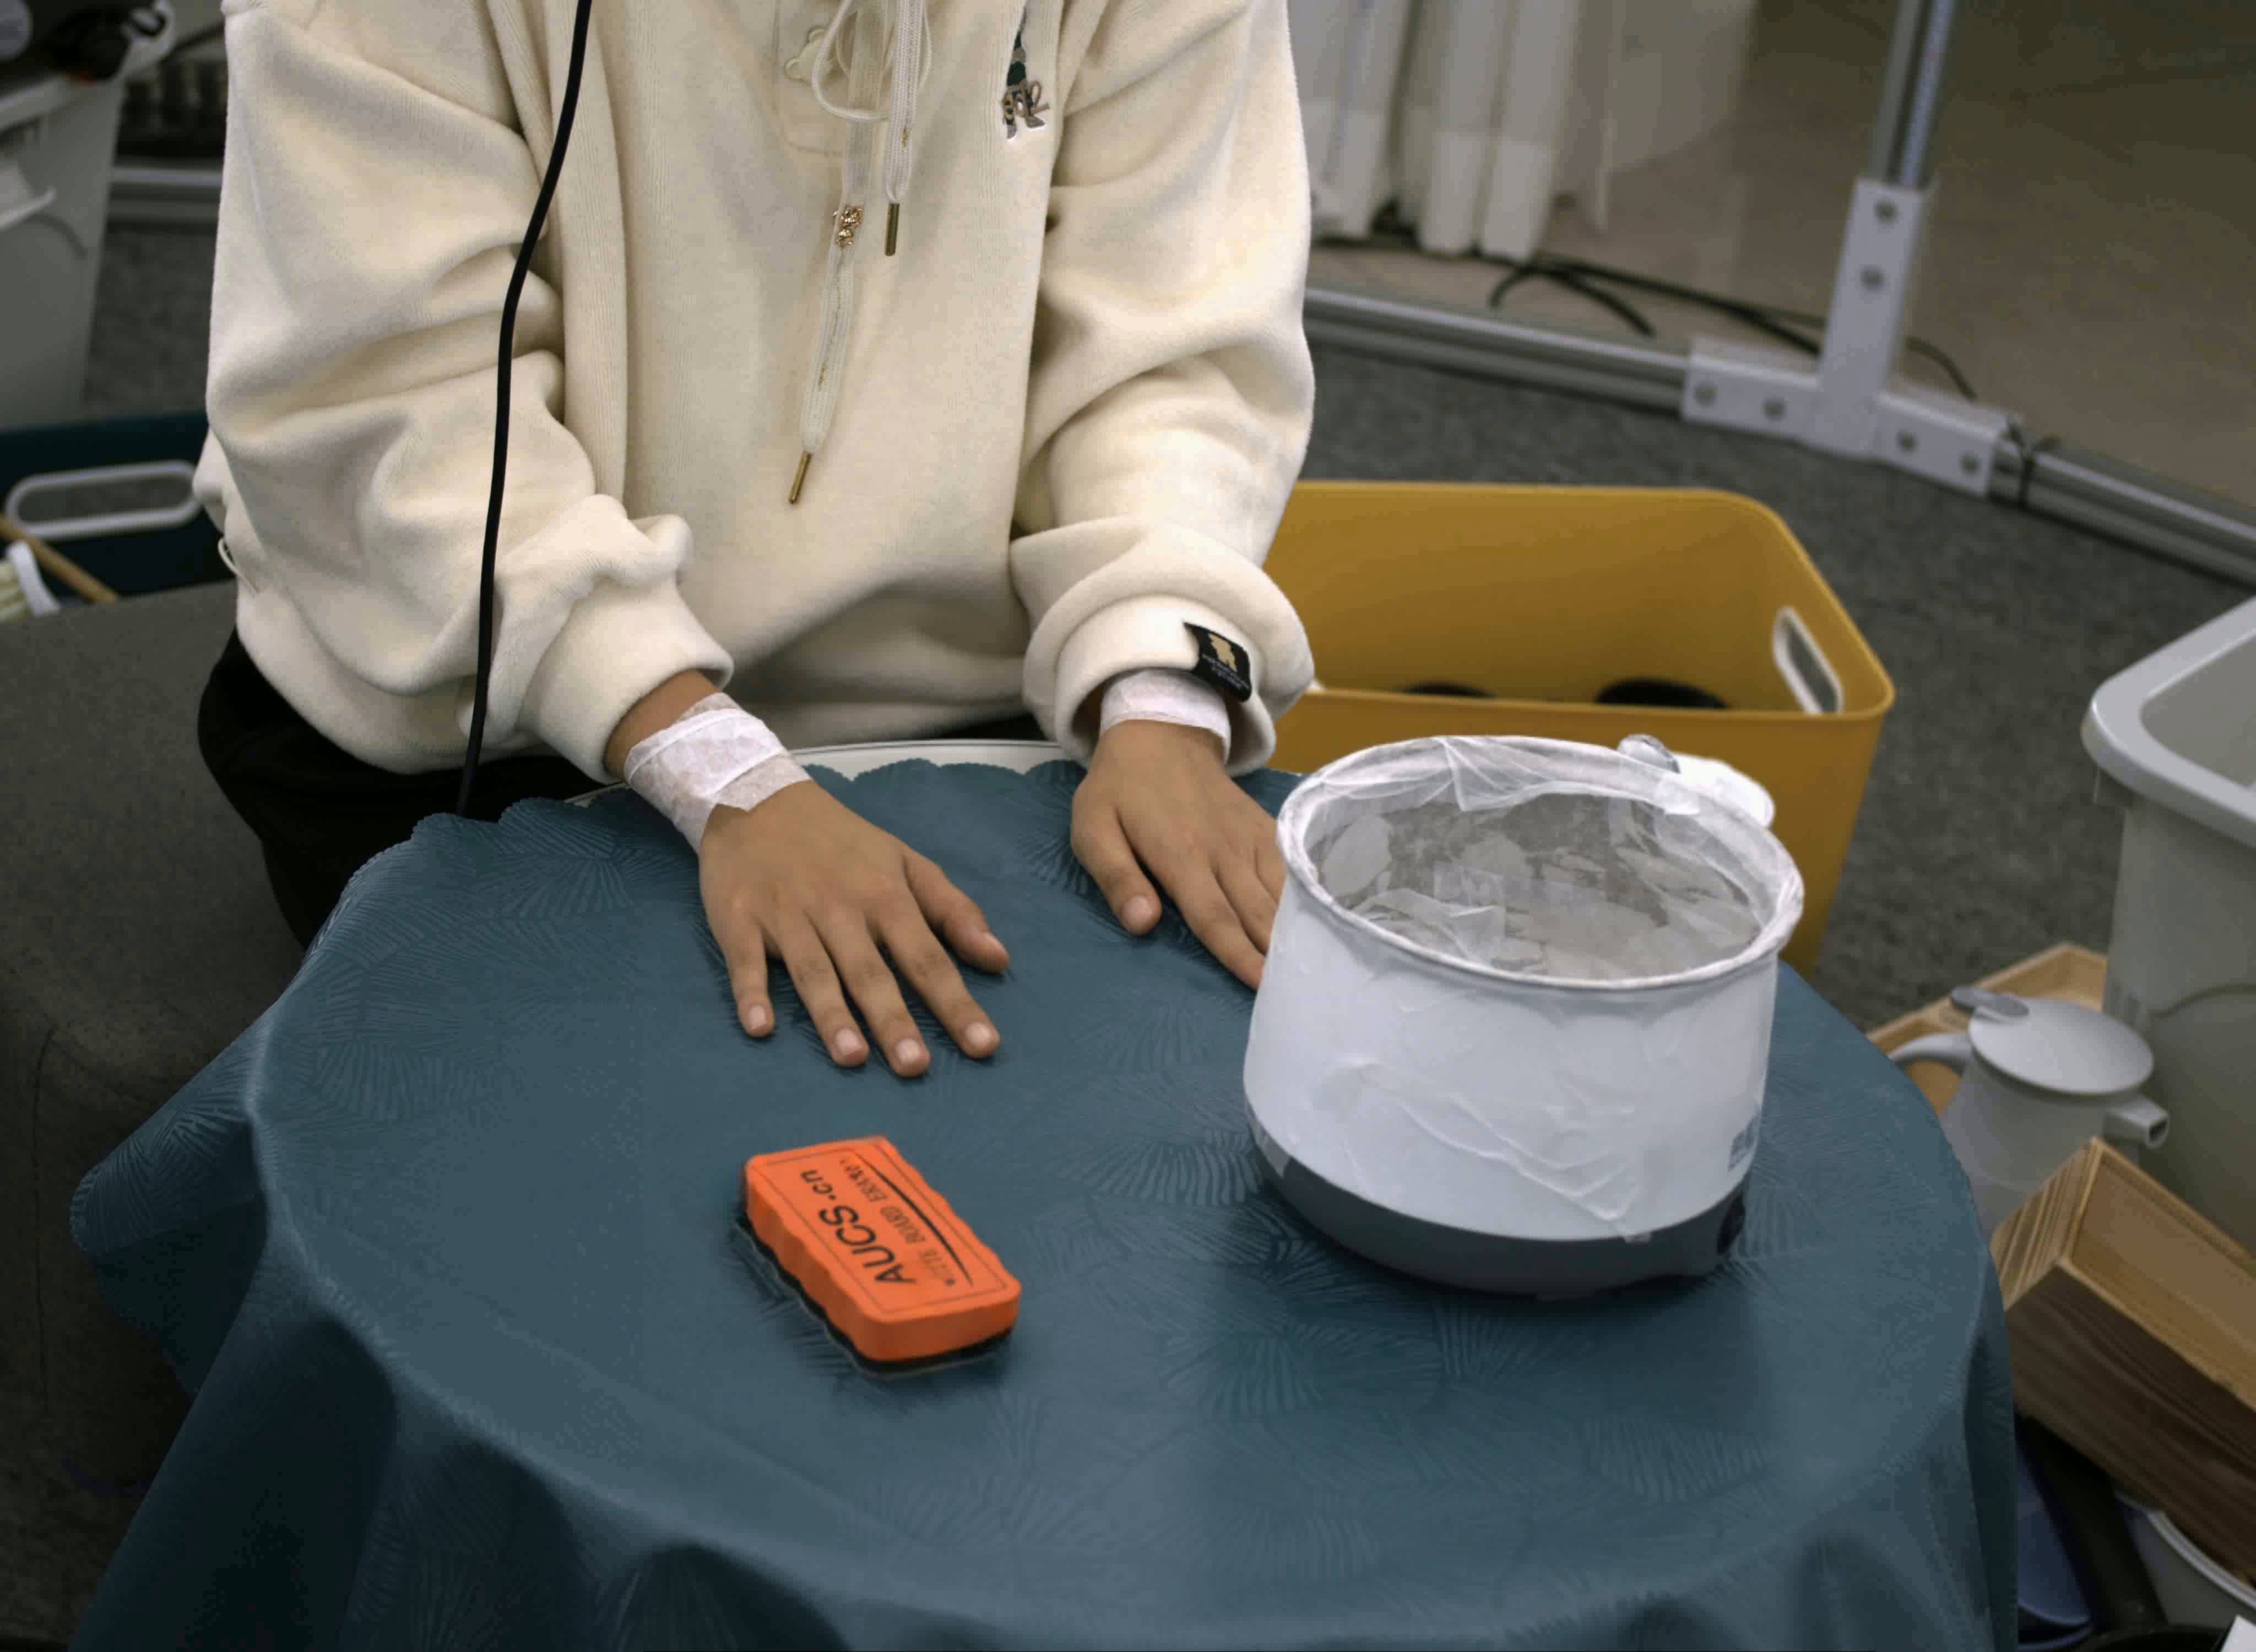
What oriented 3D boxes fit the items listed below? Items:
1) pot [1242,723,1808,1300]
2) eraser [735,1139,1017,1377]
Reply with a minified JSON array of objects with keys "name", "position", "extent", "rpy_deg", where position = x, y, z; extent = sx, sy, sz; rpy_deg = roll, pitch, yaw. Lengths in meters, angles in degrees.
[{"name":"pot","position":[0.141,0.053,1.816],"extent":[0.179,0.136,0.234],"rpy_deg":[18,30,18]},{"name":"eraser","position":[-0.082,0.139,1.727],"extent":[0.058,0.023,0.109],"rpy_deg":[-5,29,-28]}]
